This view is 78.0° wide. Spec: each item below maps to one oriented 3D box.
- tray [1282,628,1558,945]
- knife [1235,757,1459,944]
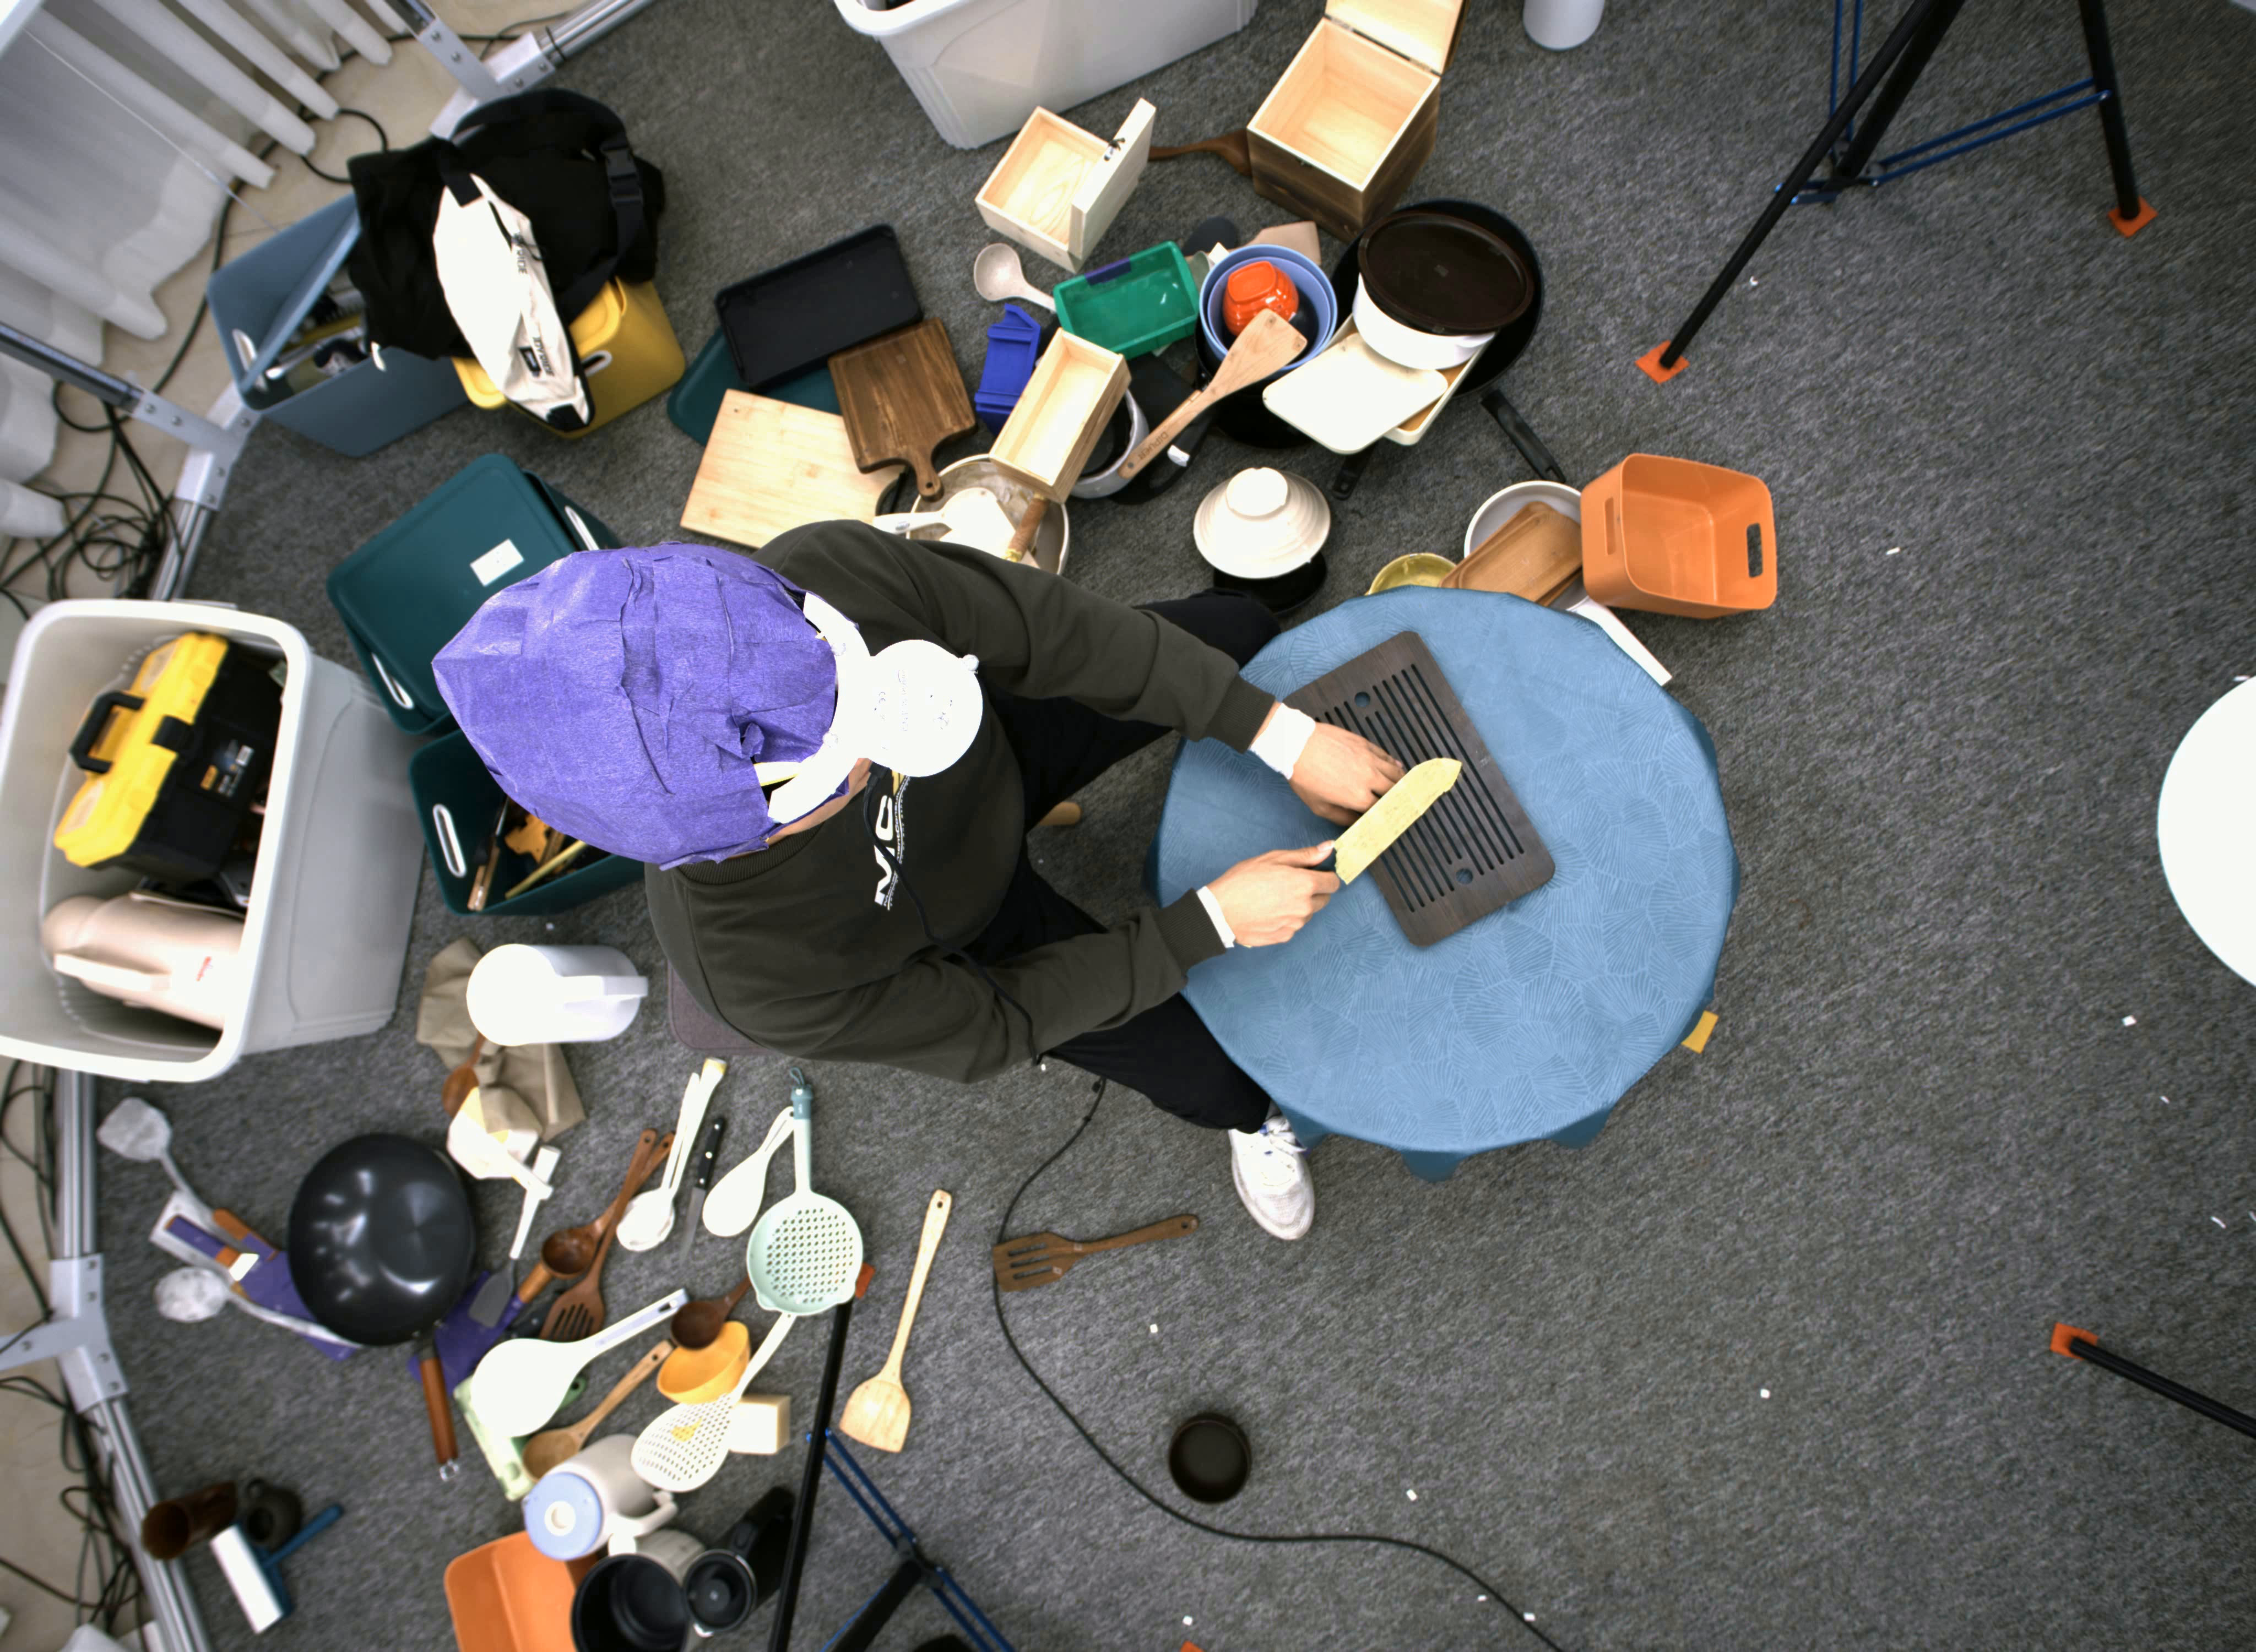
[{"bbox_3d":[0.305,-0.045,1.450,0.171,0.018,0.304,-29,82,8],"label":"tray"},{"bbox_3d":[0.226,0.025,1.406,0.290,0.082,0.027,-40,47,4],"label":"knife"}]
